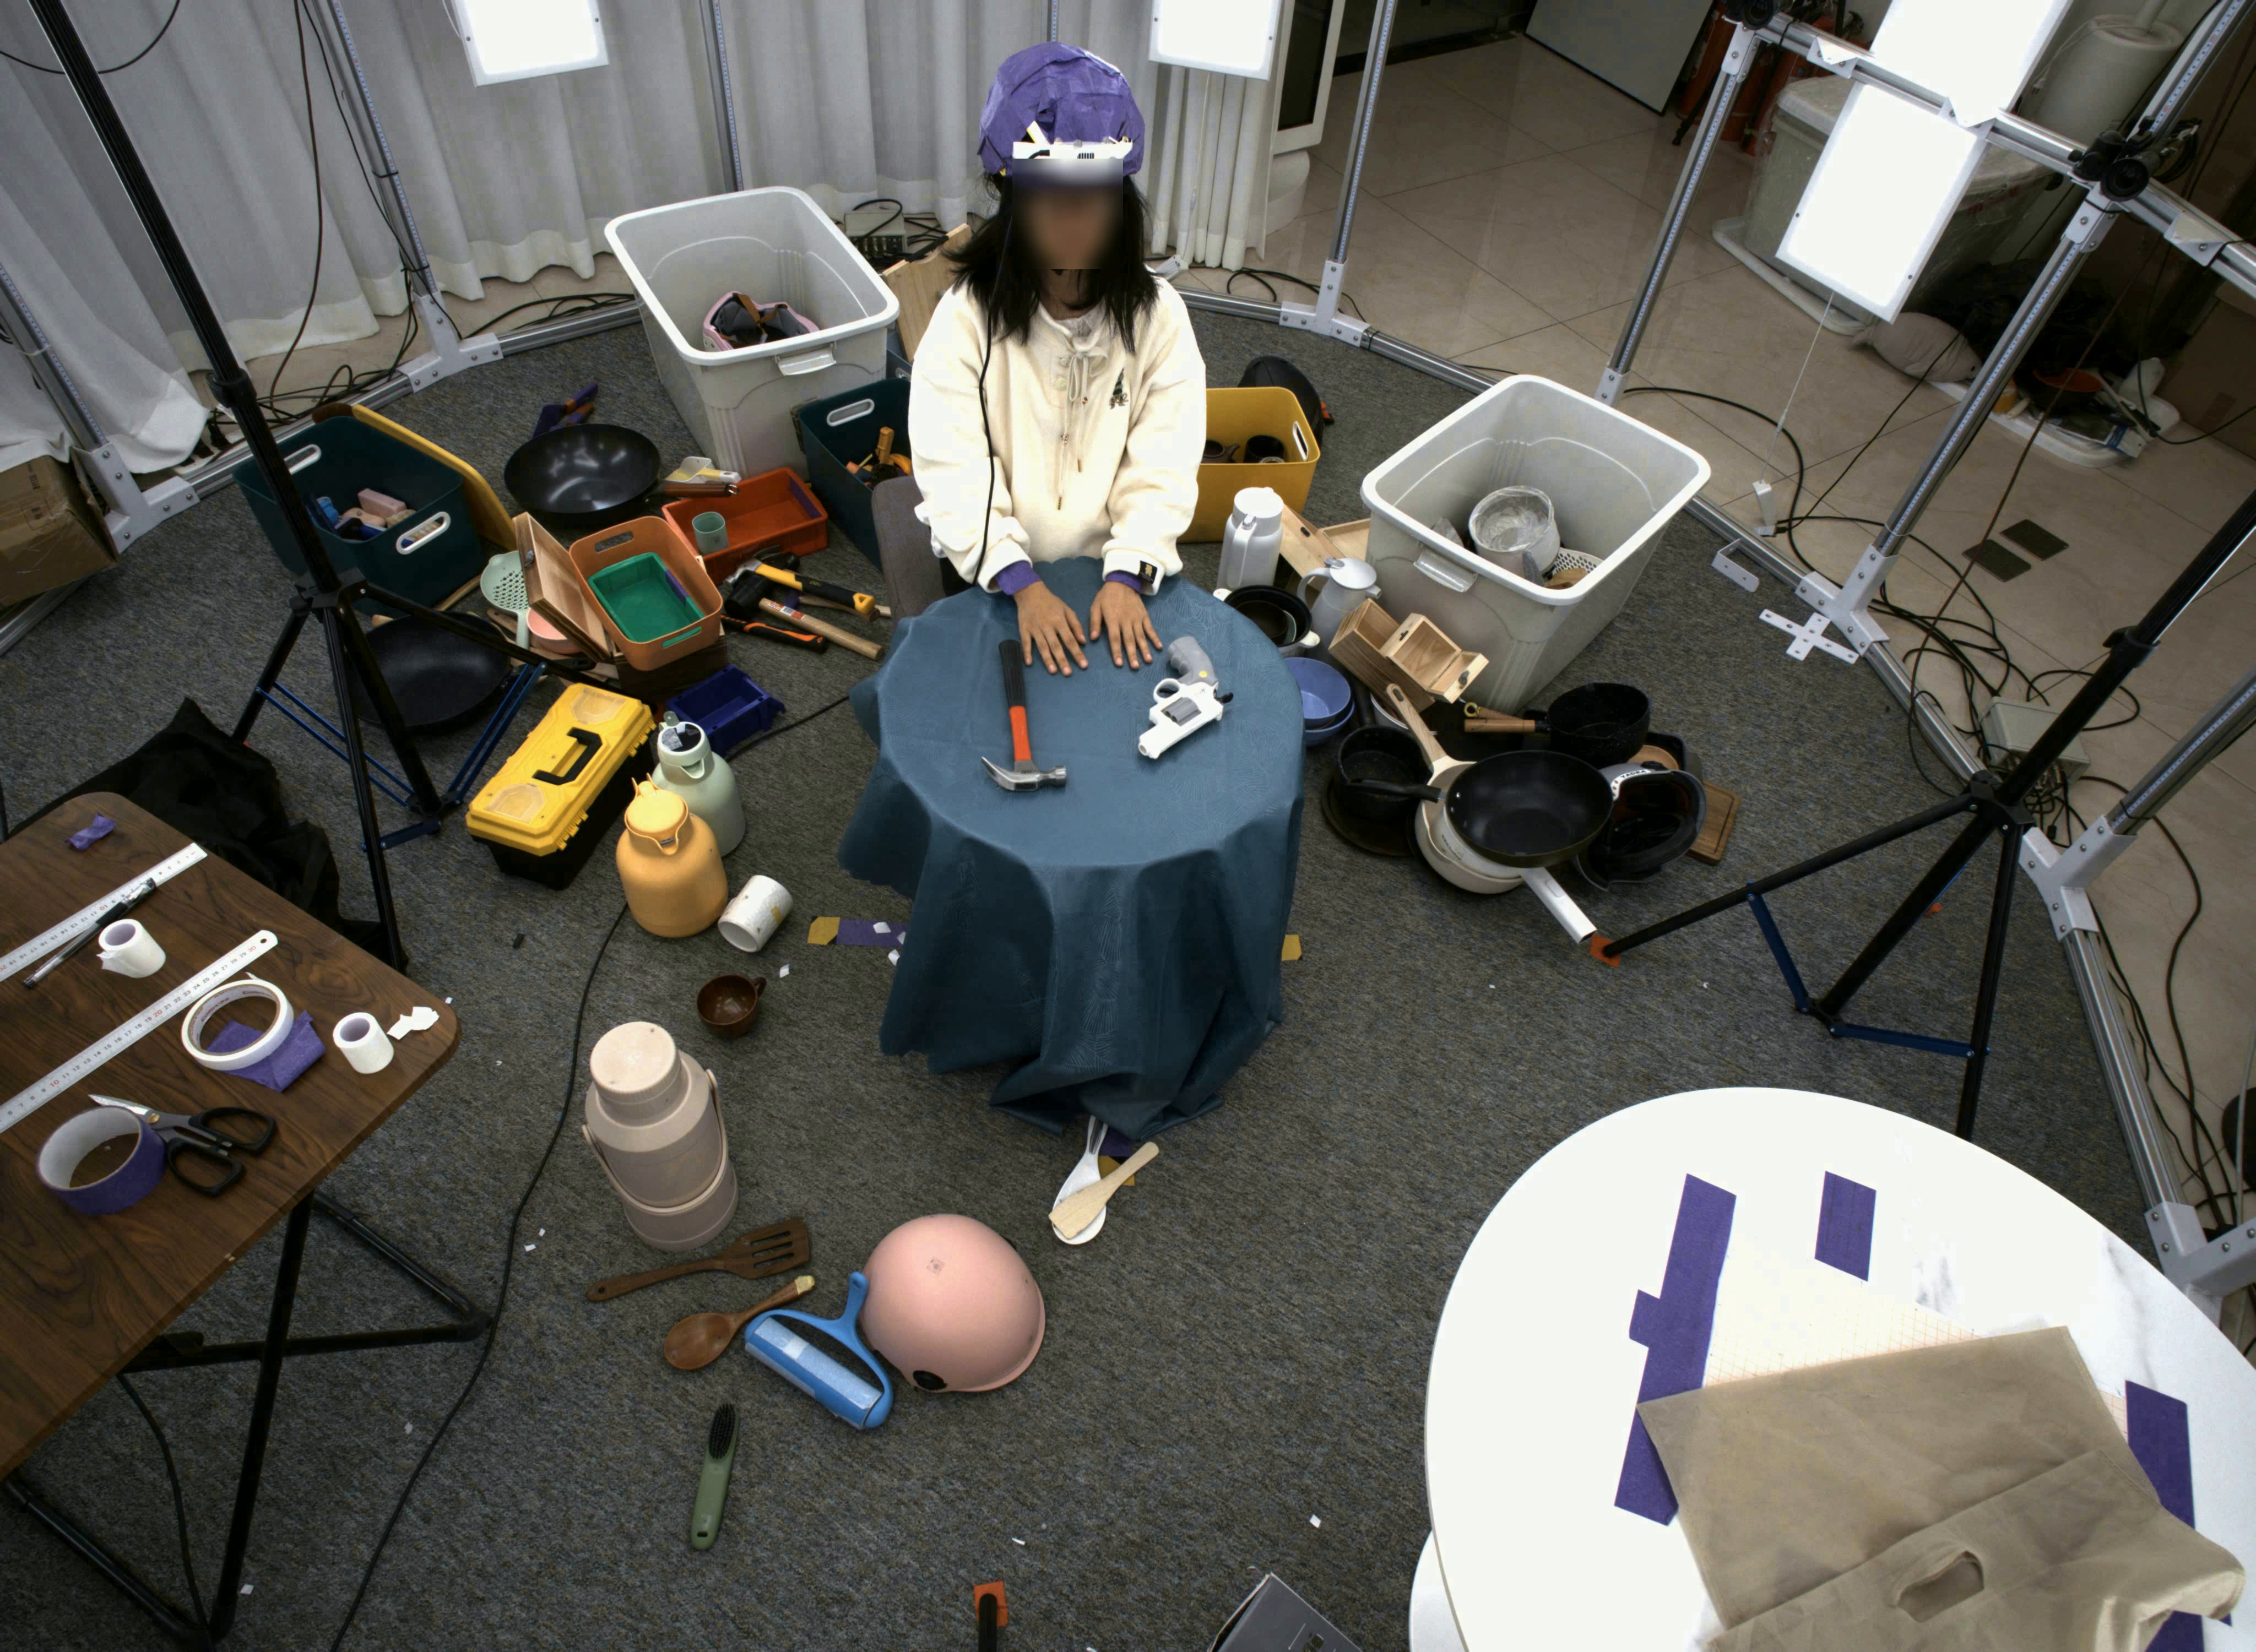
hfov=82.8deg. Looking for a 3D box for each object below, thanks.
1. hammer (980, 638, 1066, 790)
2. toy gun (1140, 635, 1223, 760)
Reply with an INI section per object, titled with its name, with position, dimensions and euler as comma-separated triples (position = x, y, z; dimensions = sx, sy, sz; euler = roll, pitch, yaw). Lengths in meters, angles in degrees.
[hammer]
position = -0.155, -0.160, 1.780
dimensions = 0.110, 0.026, 0.284
euler = -9, 50, -1
[toy gun]
position = 0.063, -0.184, 1.808
dimensions = 0.144, 0.038, 0.211
euler = 39, 58, 25
